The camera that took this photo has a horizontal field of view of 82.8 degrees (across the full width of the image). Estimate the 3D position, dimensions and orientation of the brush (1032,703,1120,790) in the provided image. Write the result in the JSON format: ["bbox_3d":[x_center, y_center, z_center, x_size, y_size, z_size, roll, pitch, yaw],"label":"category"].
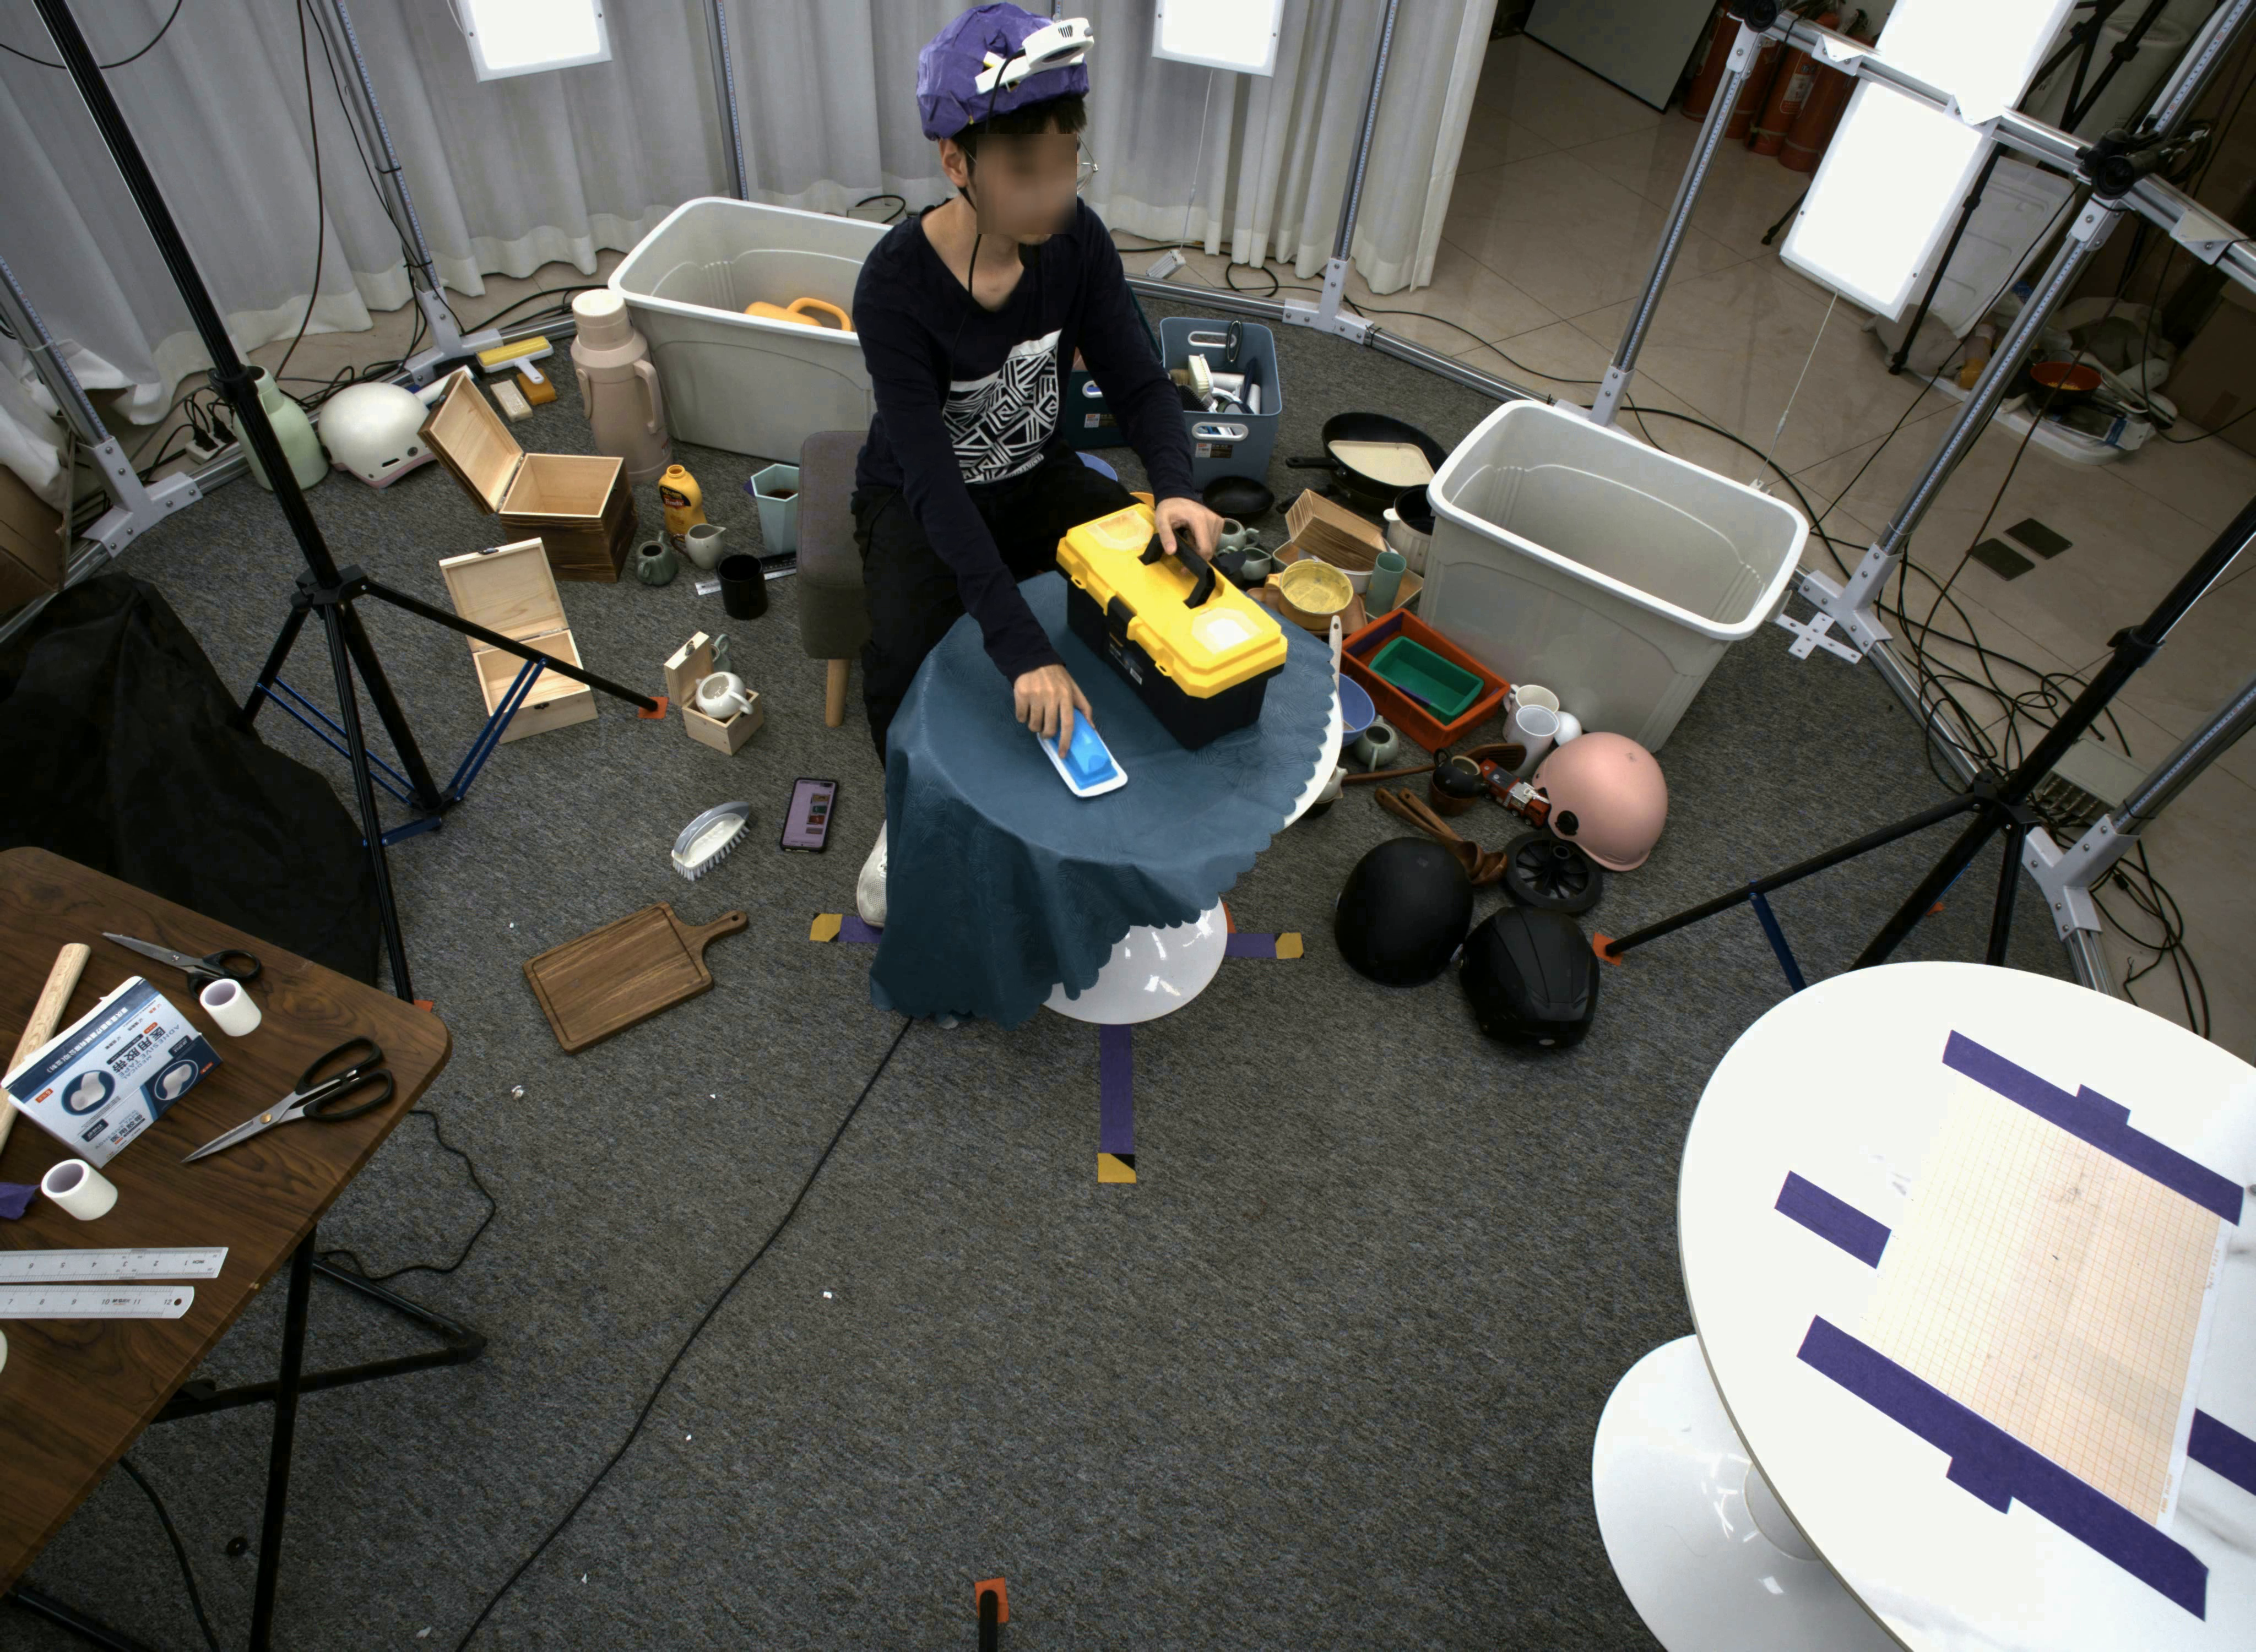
[{"bbox_3d":[-0.068,-0.114,1.721,0.084,0.054,0.147,-15,53,-21],"label":"brush"}]

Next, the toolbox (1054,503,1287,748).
[{"bbox_3d":[0.051,-0.282,1.803,0.182,0.168,0.358,-25,55,-24],"label":"toolbox"}]
